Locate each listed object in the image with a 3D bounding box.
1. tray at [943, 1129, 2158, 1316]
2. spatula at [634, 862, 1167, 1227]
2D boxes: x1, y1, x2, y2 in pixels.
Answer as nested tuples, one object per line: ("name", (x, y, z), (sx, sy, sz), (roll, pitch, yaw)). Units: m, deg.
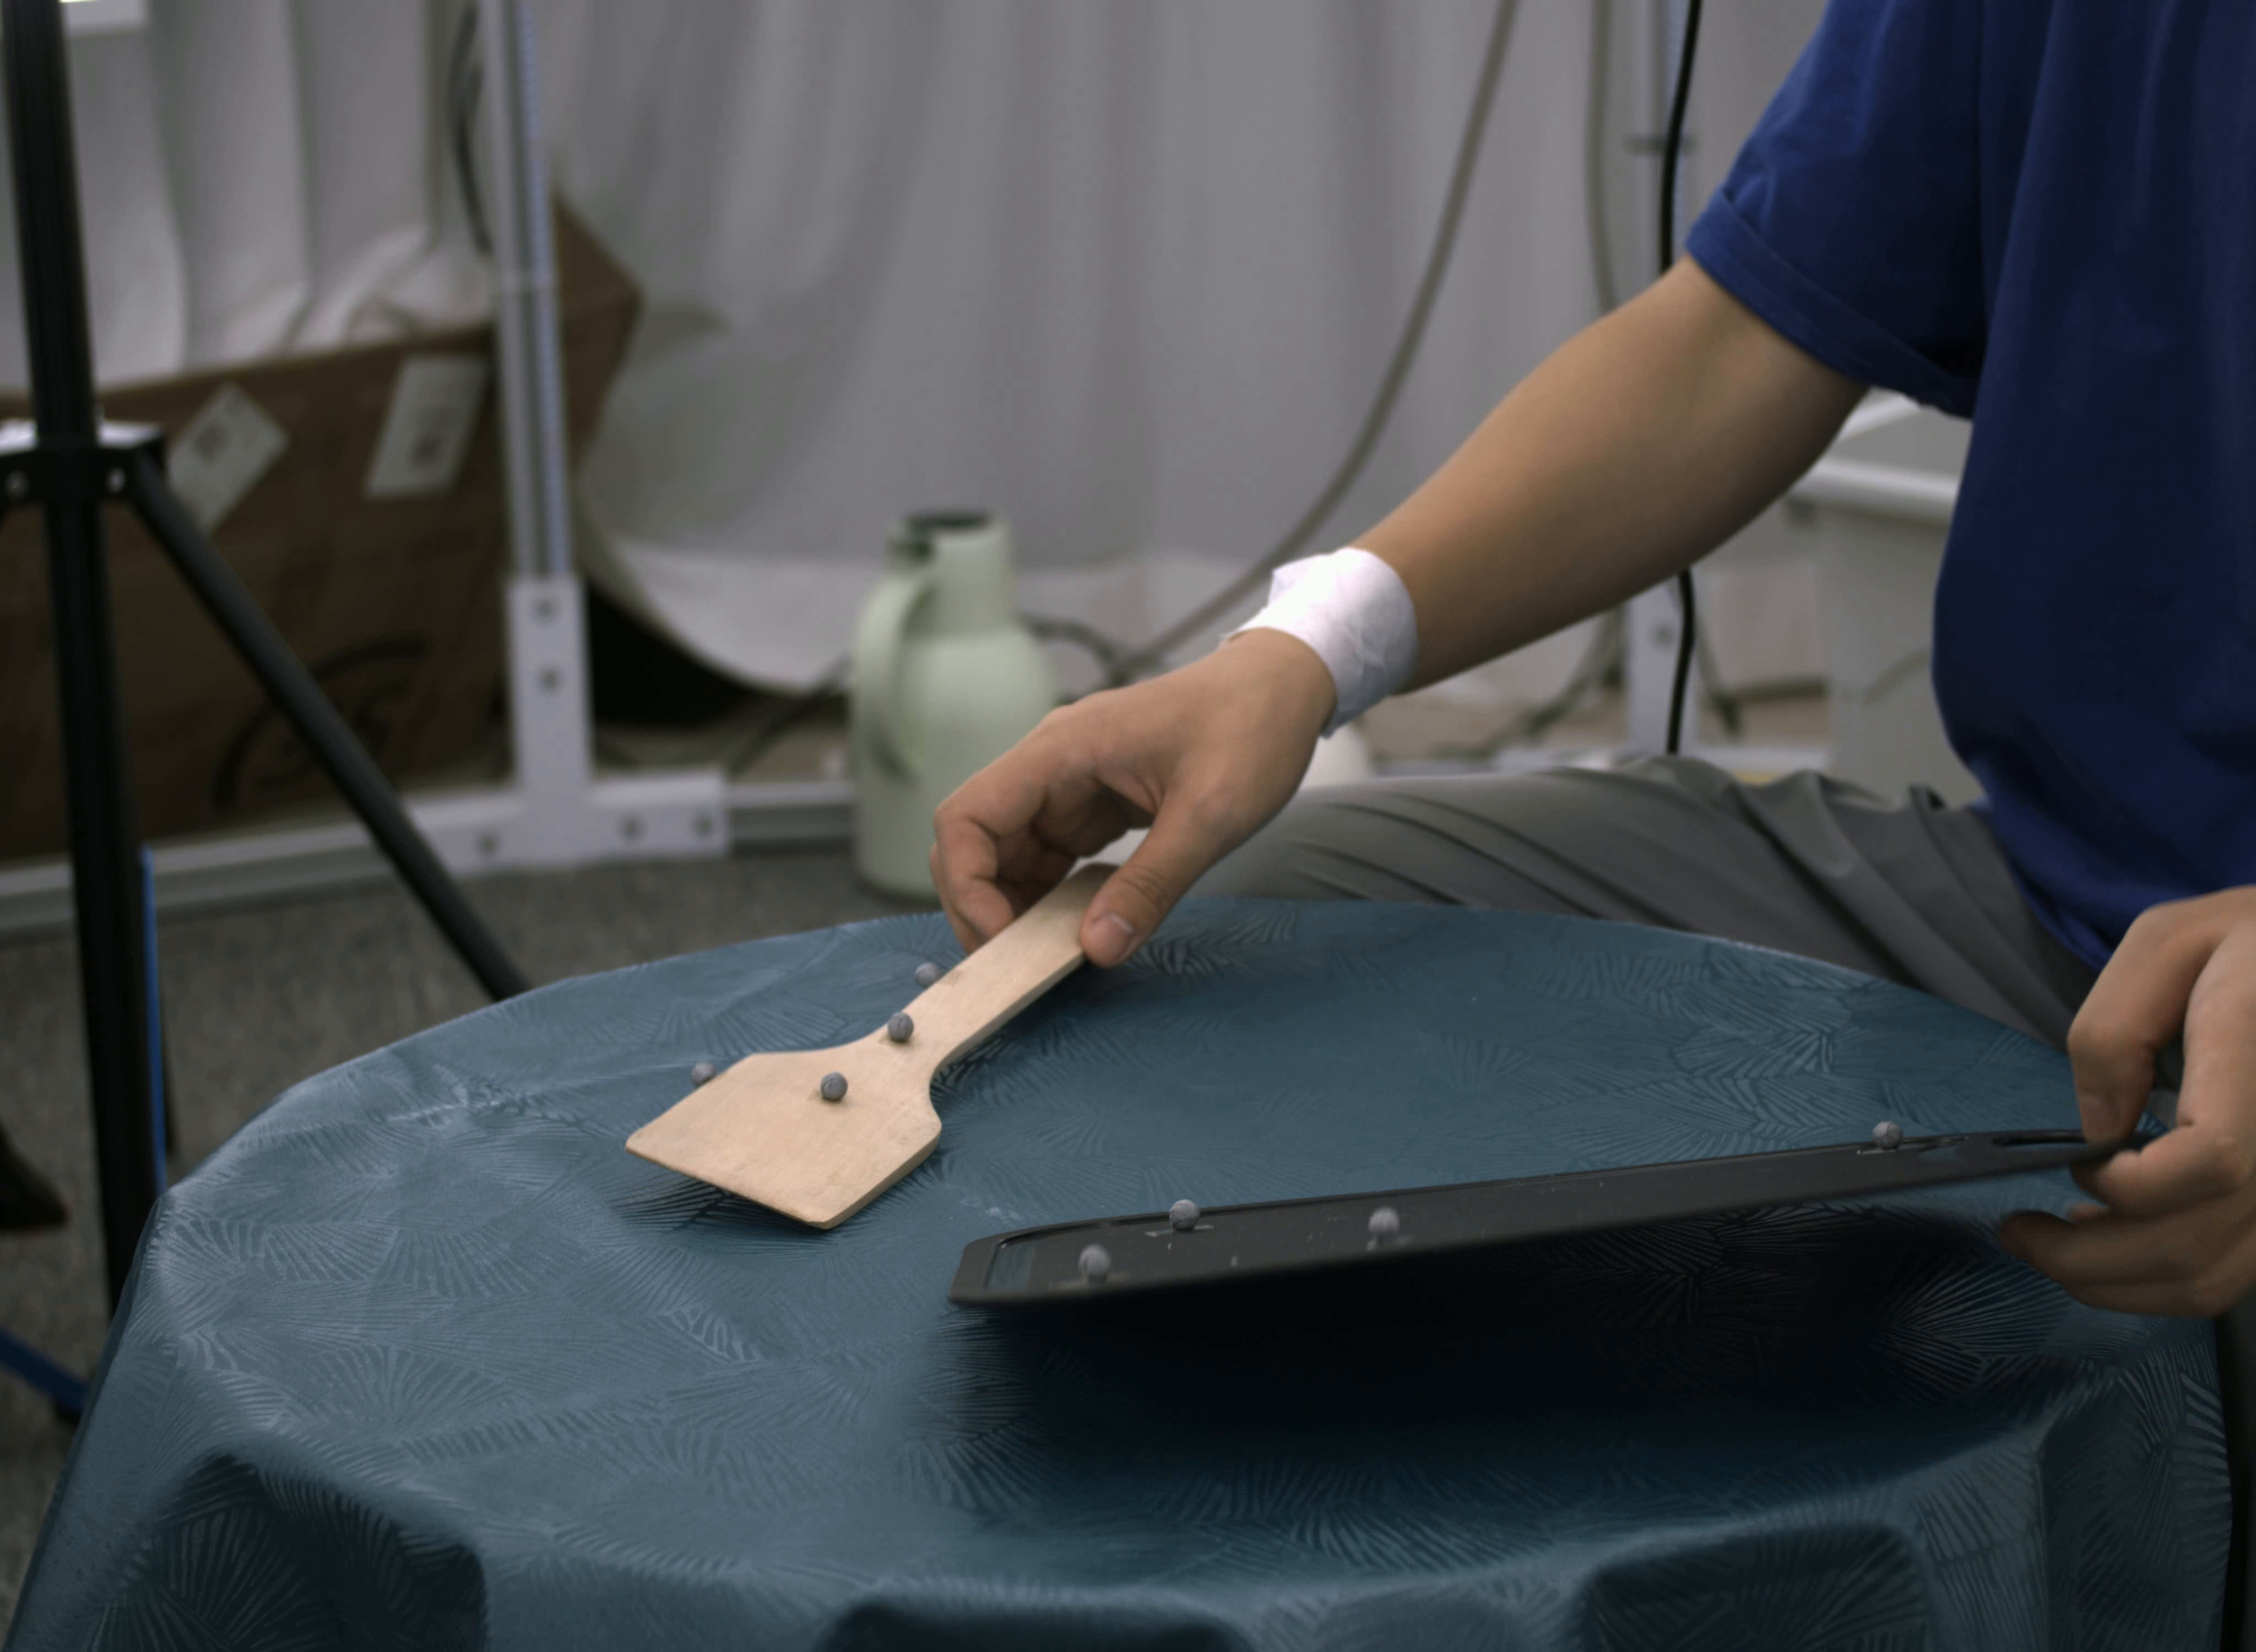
("tray", (0.114, 0.103, 1.422), (0.324, 0.010, 0.210), (-6, 1, 3))
("spatula", (-0.058, 0.062, 1.671), (0.073, 0.010, 0.289), (16, 25, 20))
